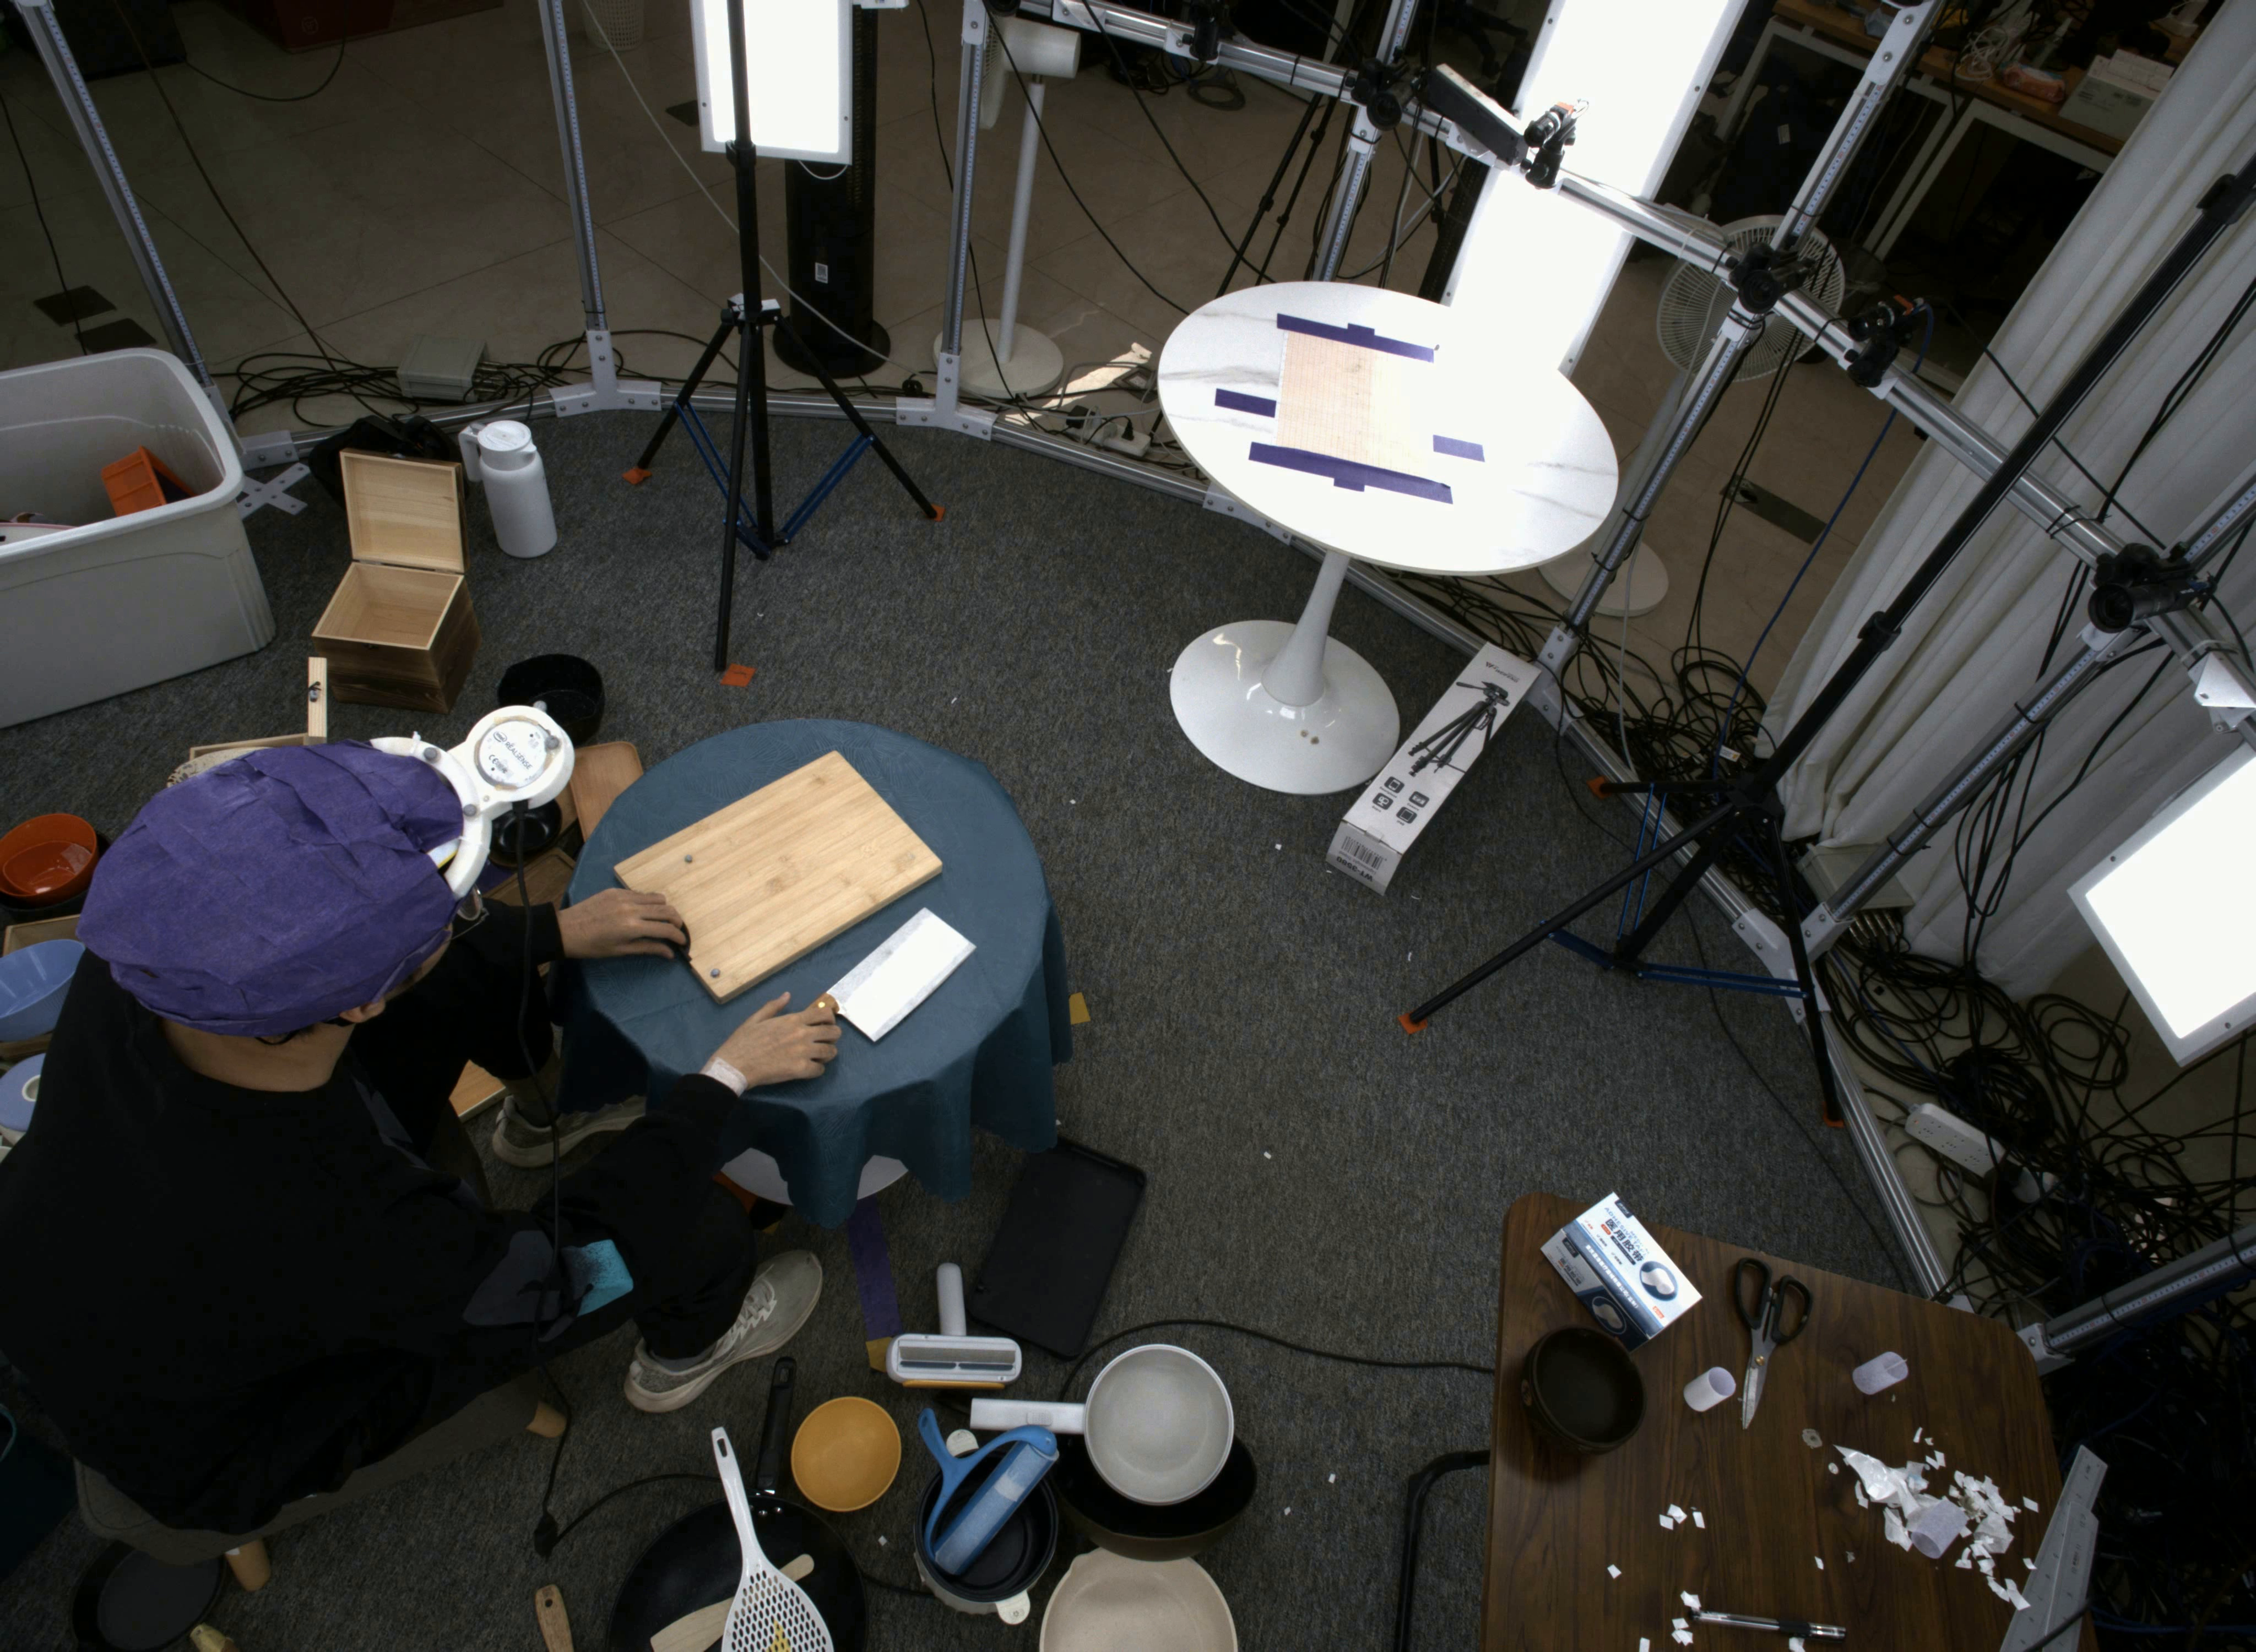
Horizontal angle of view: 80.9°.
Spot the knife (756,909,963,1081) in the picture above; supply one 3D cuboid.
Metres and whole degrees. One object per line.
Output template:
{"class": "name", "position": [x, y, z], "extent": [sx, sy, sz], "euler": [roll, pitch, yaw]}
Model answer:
{"class": "knife", "position": [-0.315, 0.210, 1.576], "extent": [0.091, 0.021, 0.305], "euler": [37, 51, 11]}

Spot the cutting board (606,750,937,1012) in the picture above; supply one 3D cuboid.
{"class": "cutting board", "position": [-0.450, 0.057, 1.653], "extent": [0.245, 0.024, 0.349], "euler": [43, 55, 18]}
